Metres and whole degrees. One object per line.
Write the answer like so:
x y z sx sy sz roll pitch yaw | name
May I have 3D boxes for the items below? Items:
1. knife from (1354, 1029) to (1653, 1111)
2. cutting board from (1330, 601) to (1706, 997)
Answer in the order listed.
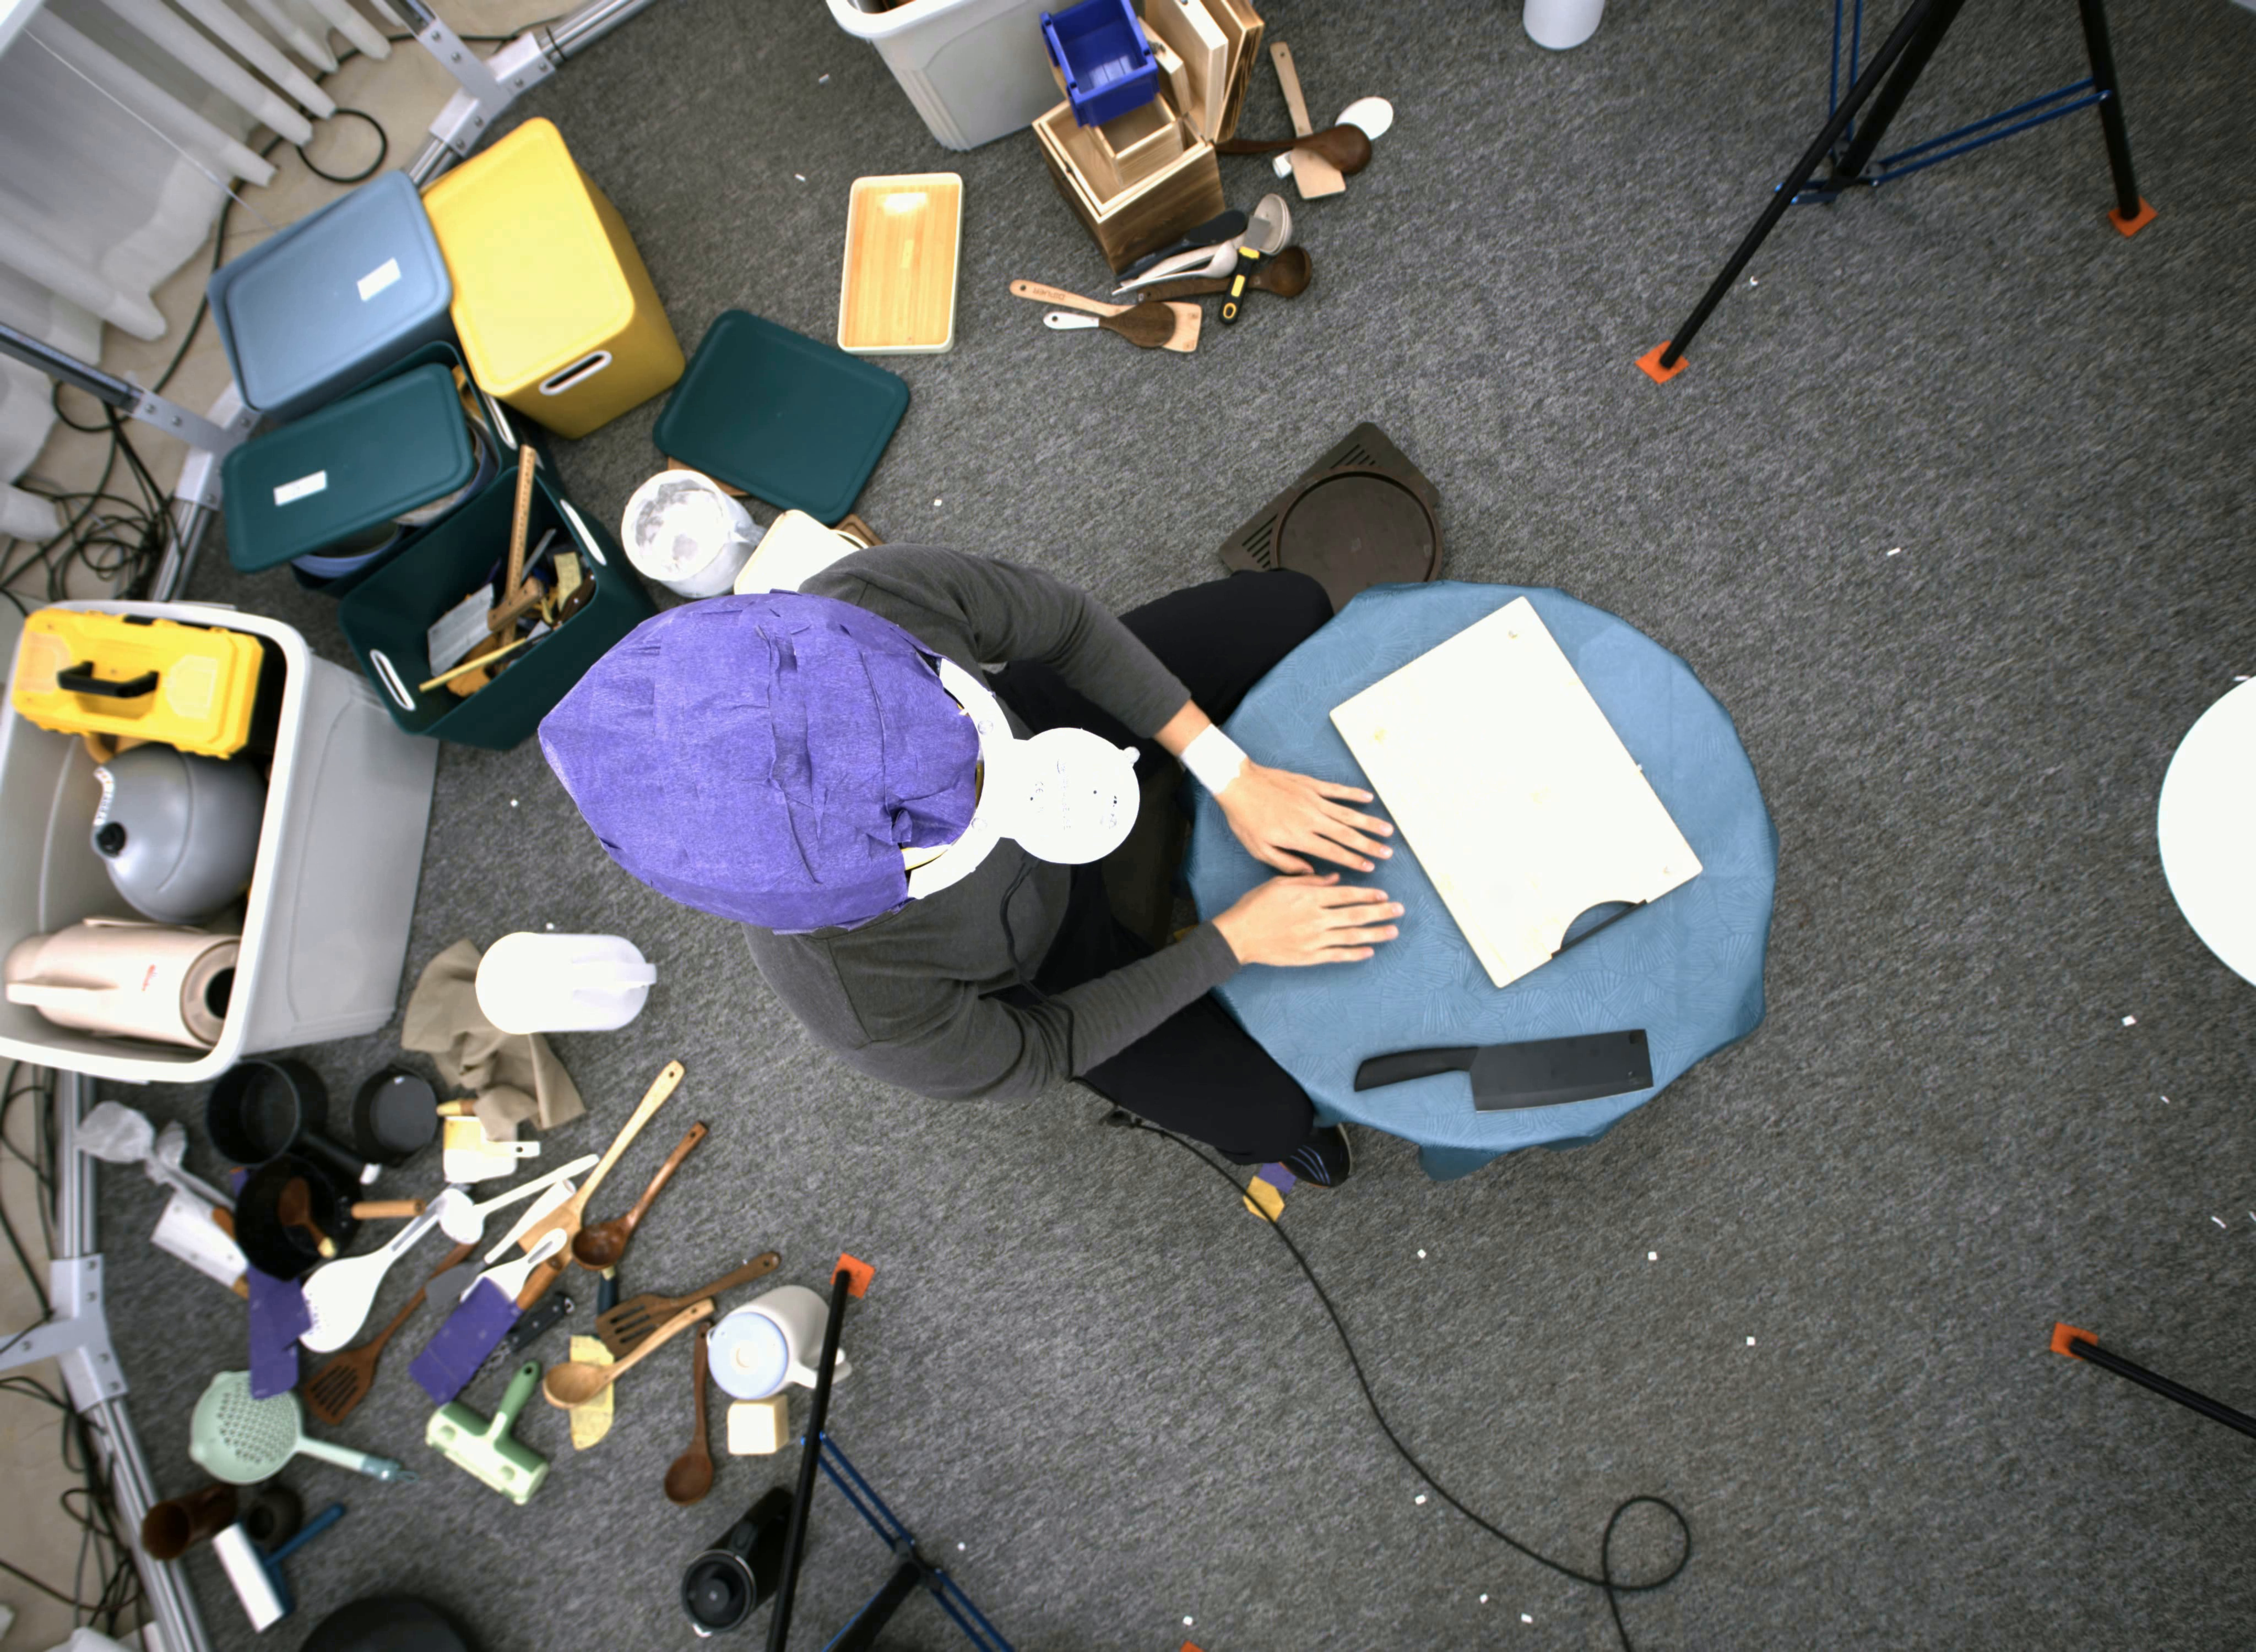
0.385 0.252 1.421 0.303 0.021 0.080 -4 87 9 | knife
0.403 -0.035 1.433 0.252 0.023 0.346 -32 82 8 | cutting board
